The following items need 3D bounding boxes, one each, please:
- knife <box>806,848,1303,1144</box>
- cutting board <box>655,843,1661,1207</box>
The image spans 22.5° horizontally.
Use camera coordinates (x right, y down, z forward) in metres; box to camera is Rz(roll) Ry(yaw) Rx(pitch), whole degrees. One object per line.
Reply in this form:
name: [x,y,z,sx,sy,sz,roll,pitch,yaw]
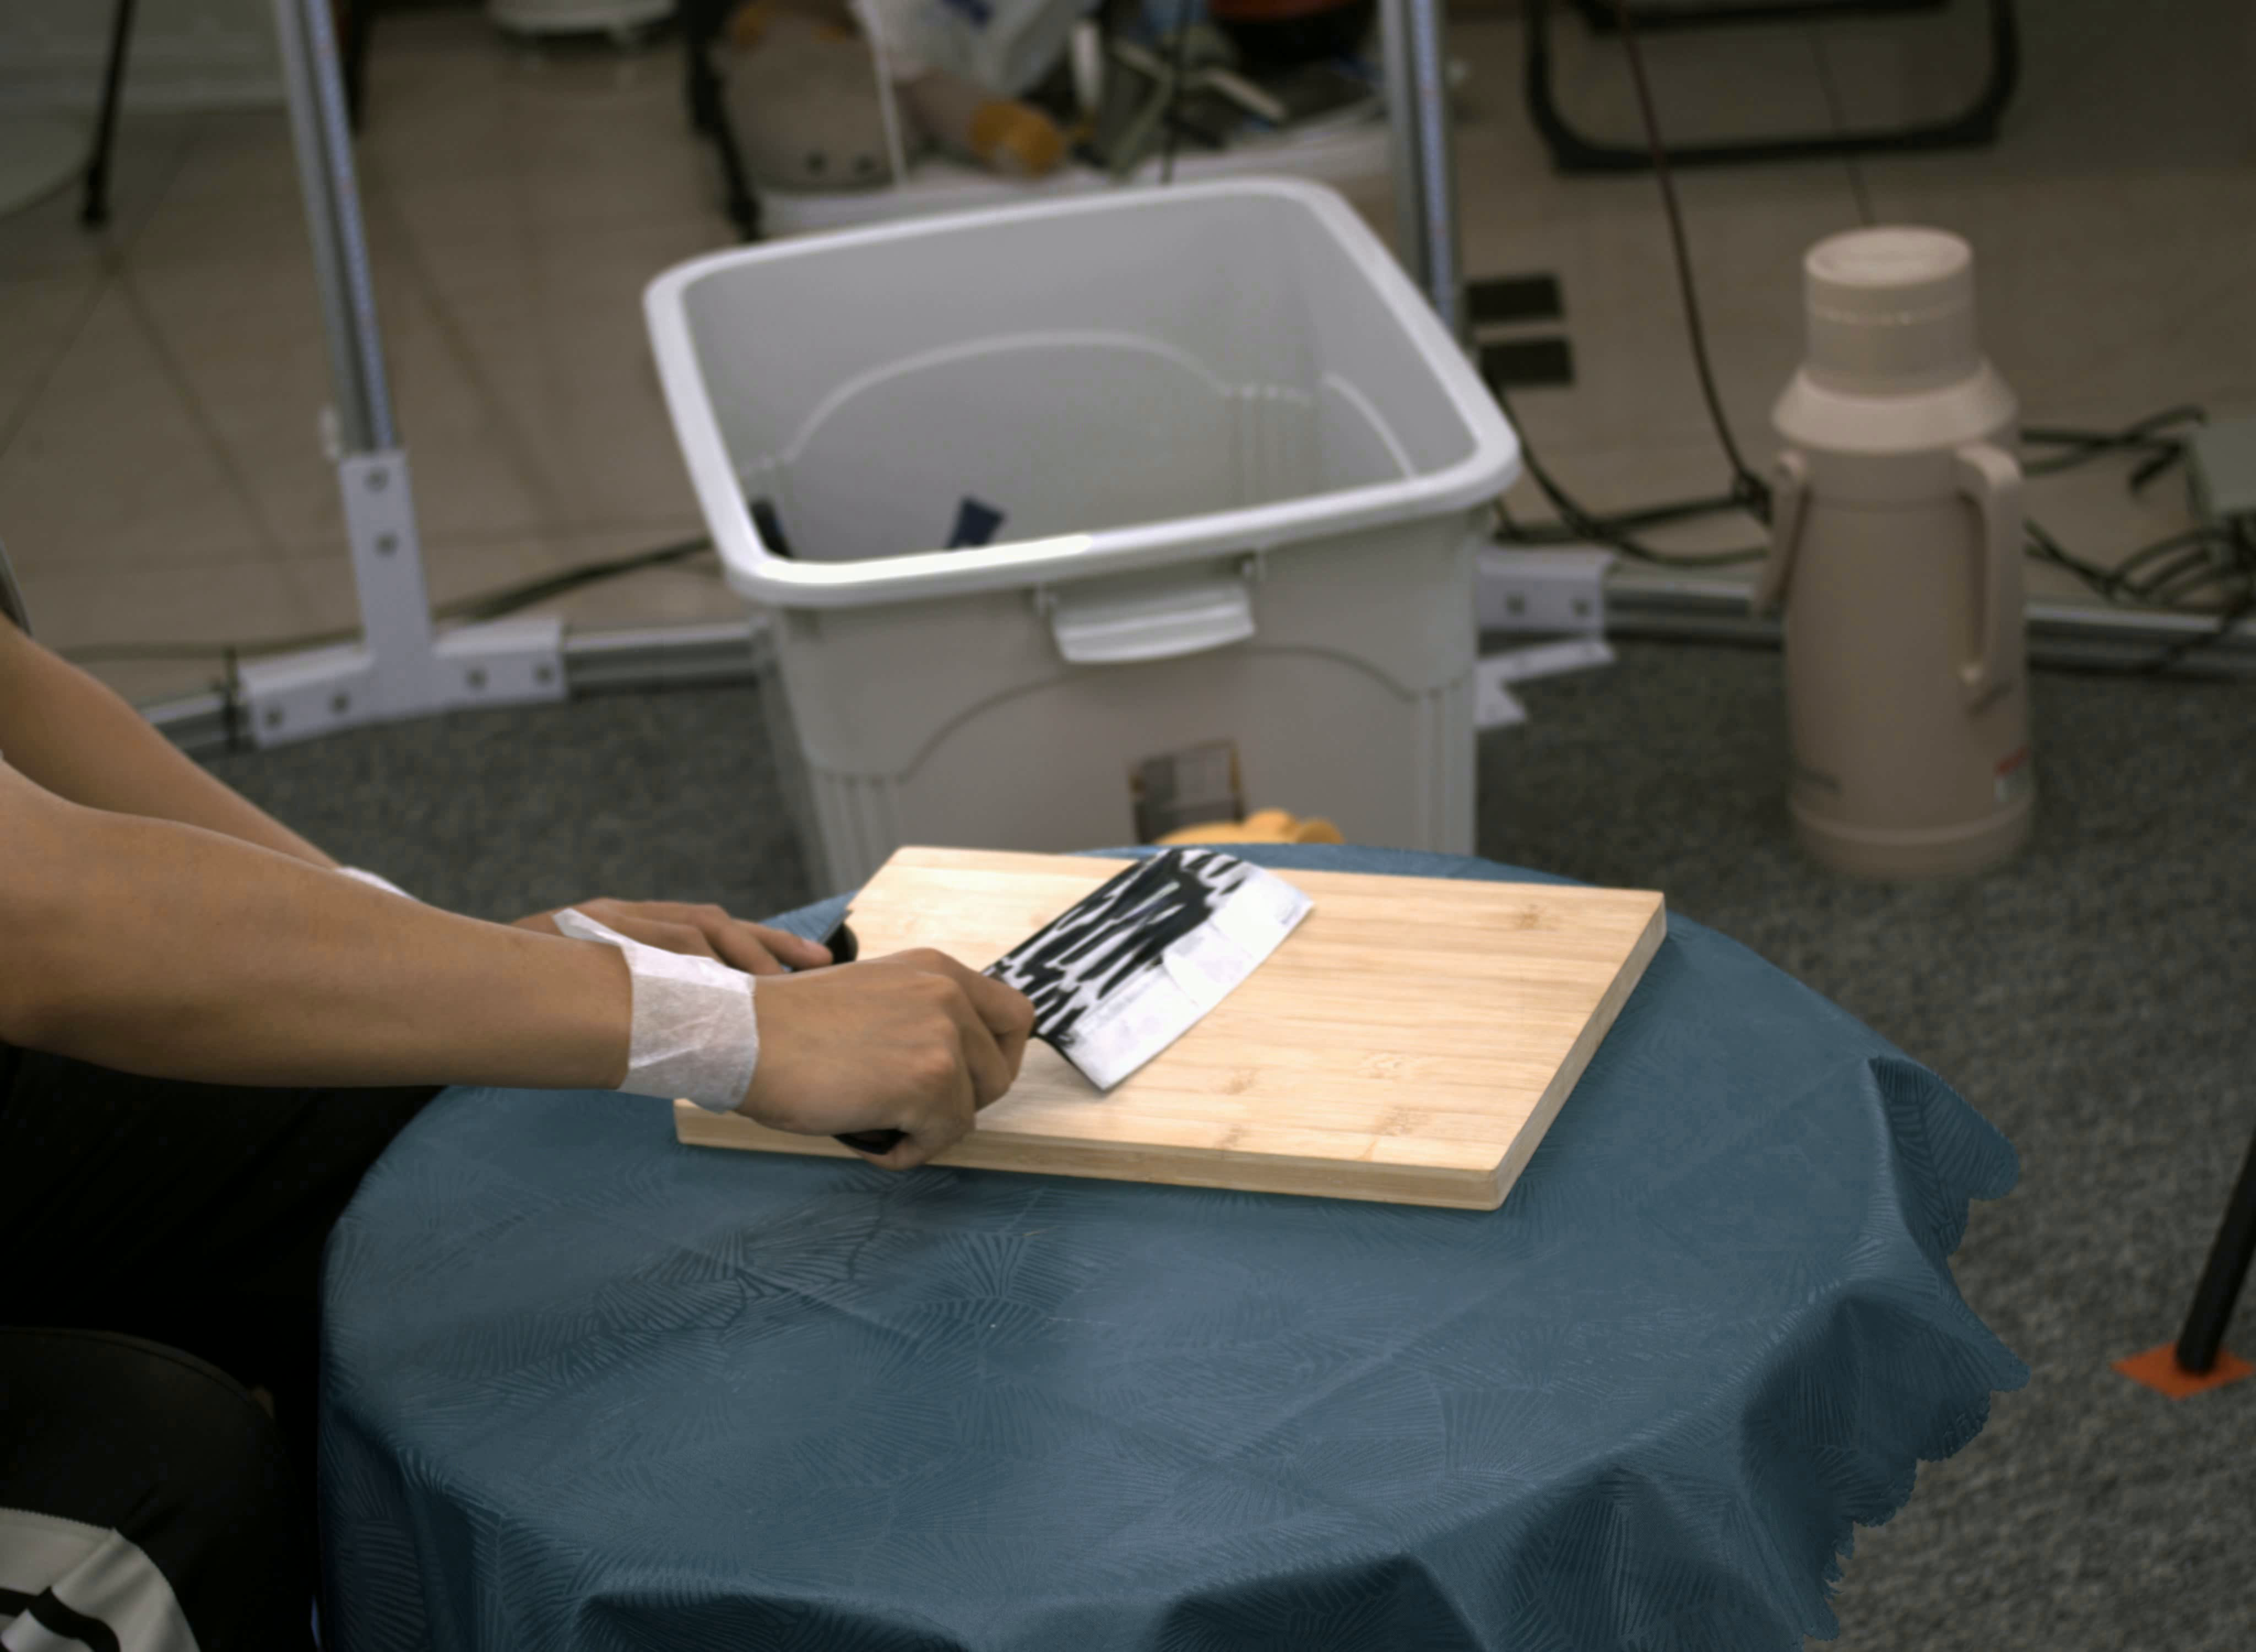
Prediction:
knife: [-0.022,0.069,2.204,0.068,0.024,0.296,46,39,8]
cutting board: [0.015,0.075,2.265,0.348,0.024,0.247,3,26,20]
